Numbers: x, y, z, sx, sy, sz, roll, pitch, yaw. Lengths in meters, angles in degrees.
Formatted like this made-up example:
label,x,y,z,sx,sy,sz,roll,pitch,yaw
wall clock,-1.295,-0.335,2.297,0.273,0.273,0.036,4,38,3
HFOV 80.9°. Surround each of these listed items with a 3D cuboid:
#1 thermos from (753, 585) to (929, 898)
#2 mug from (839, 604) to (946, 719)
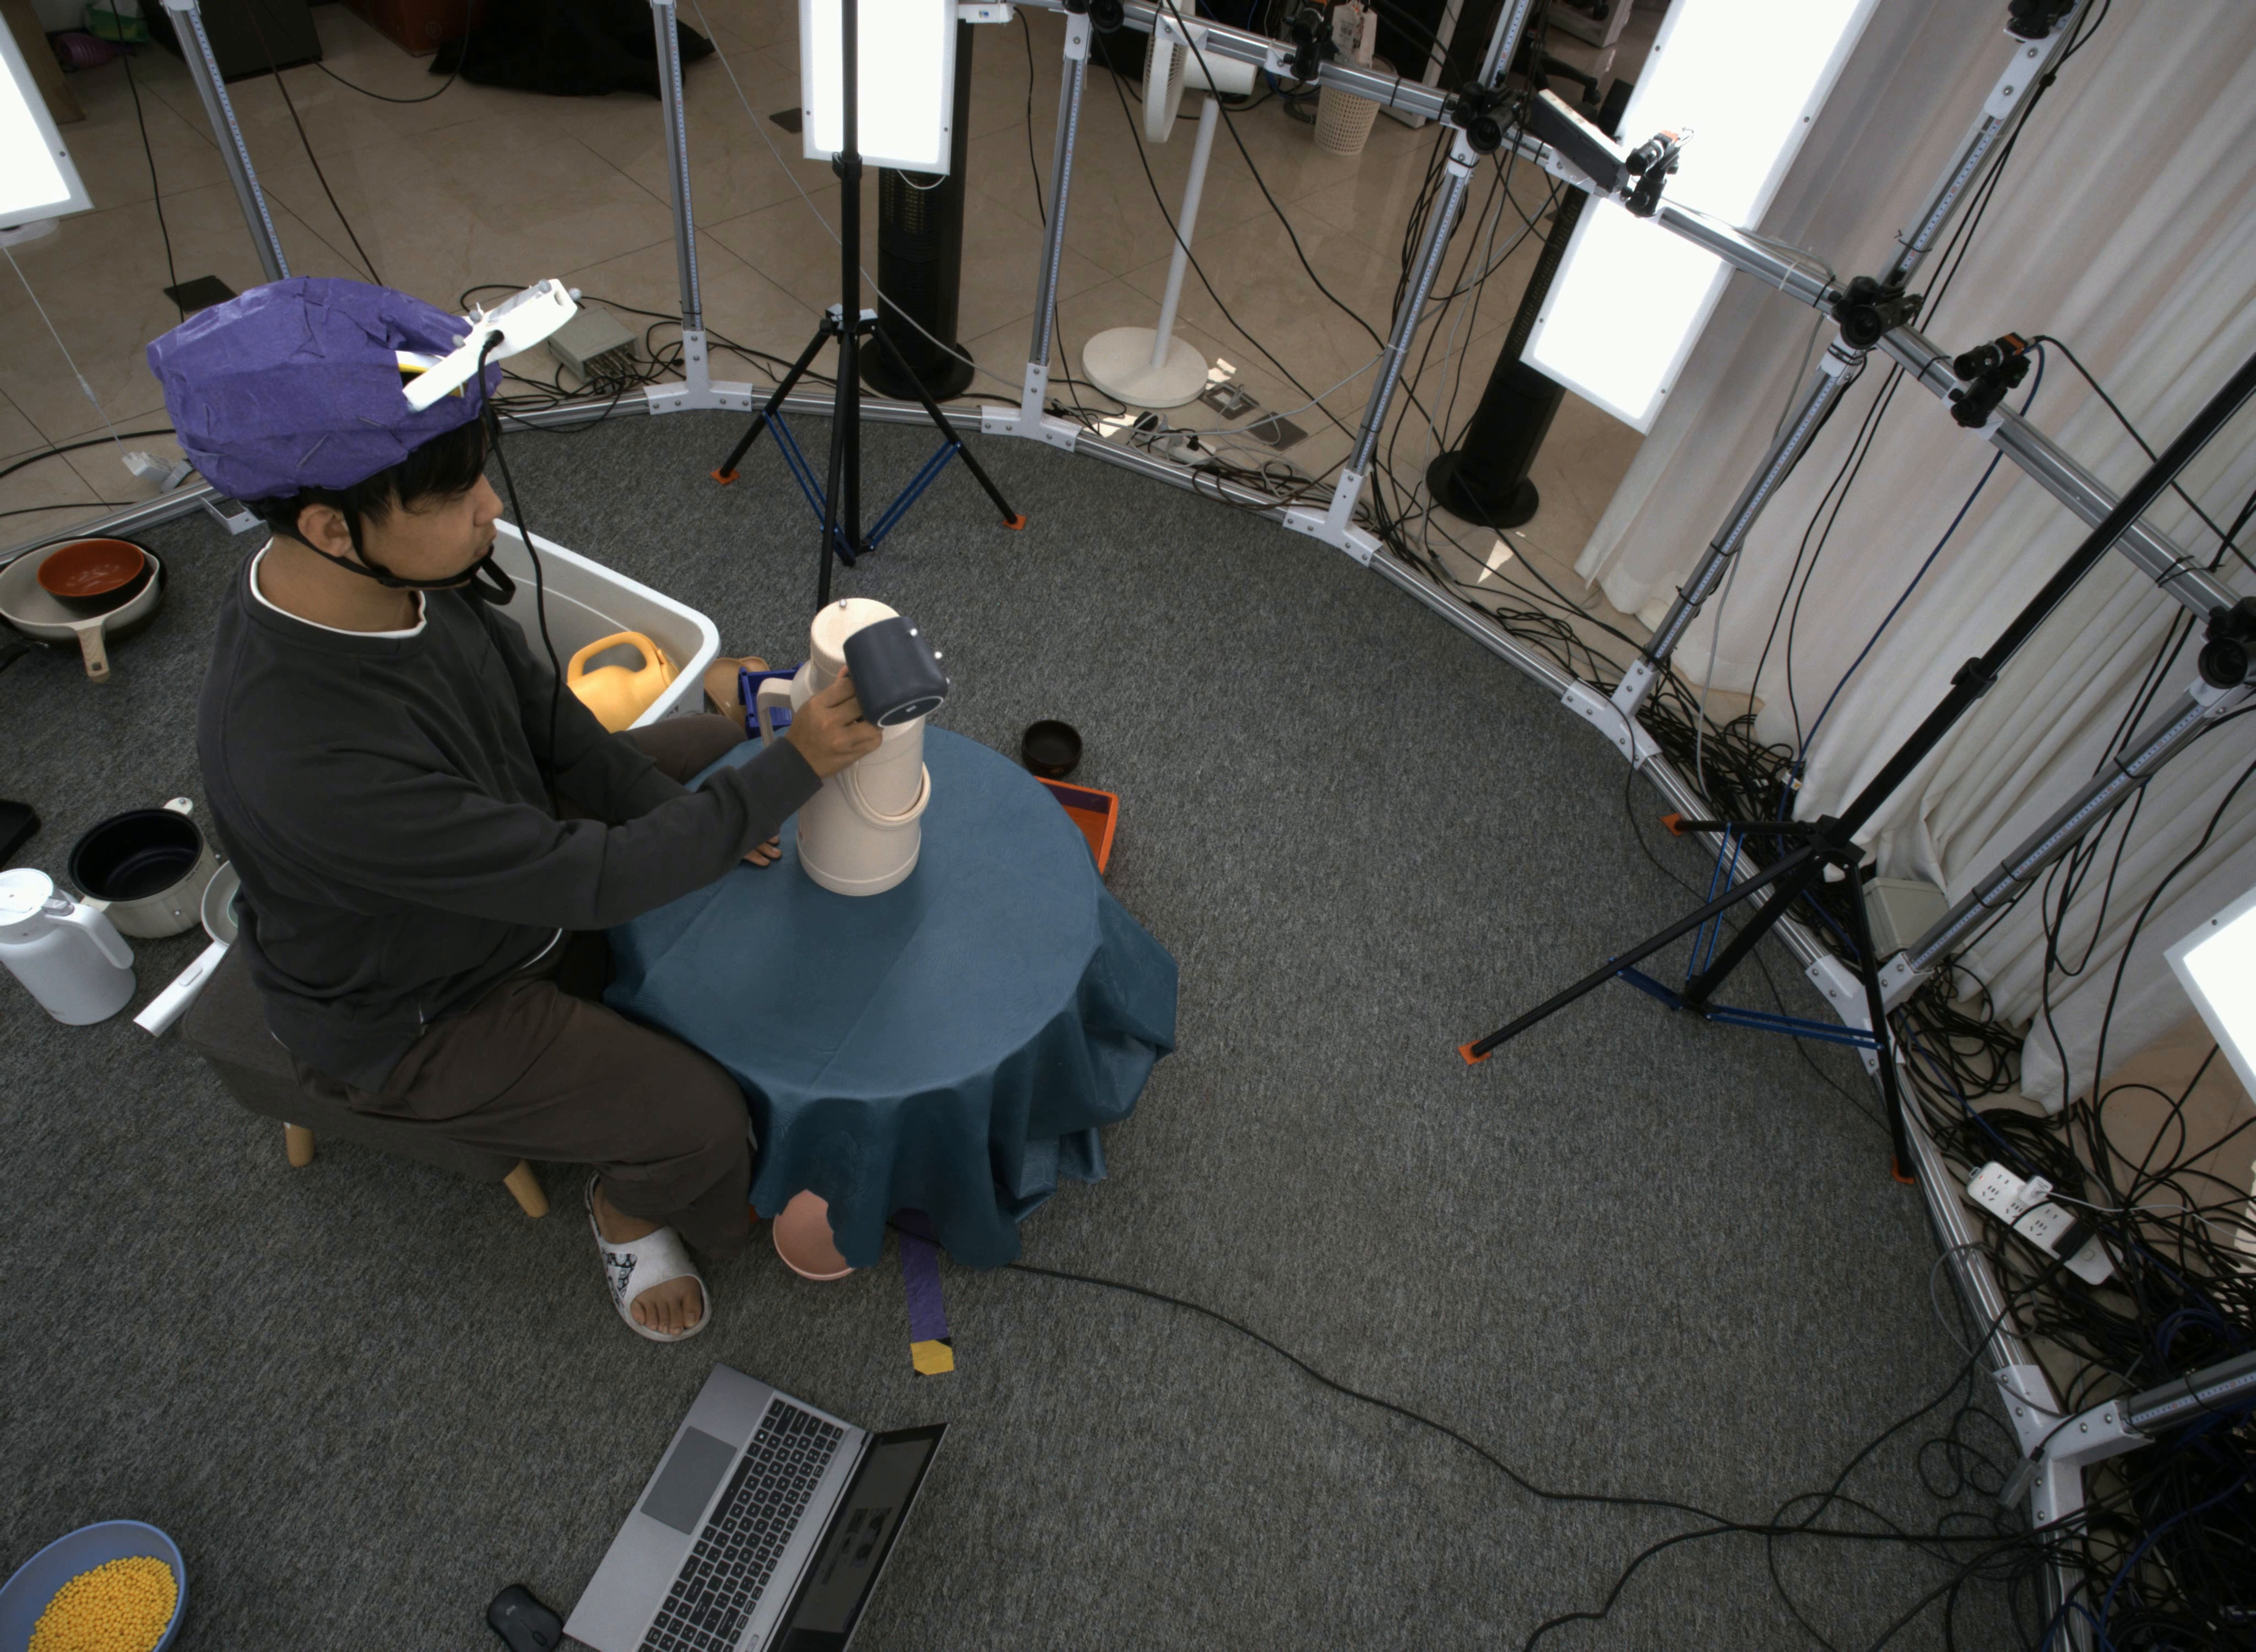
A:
label,x,y,z,sx,sy,sz,roll,pitch,yaw
thermos,-0.340,-0.099,1.559,0.206,0.415,0.172,7,51,-7
mug,-0.252,-0.159,1.328,0.095,0.121,0.090,-16,81,-54
